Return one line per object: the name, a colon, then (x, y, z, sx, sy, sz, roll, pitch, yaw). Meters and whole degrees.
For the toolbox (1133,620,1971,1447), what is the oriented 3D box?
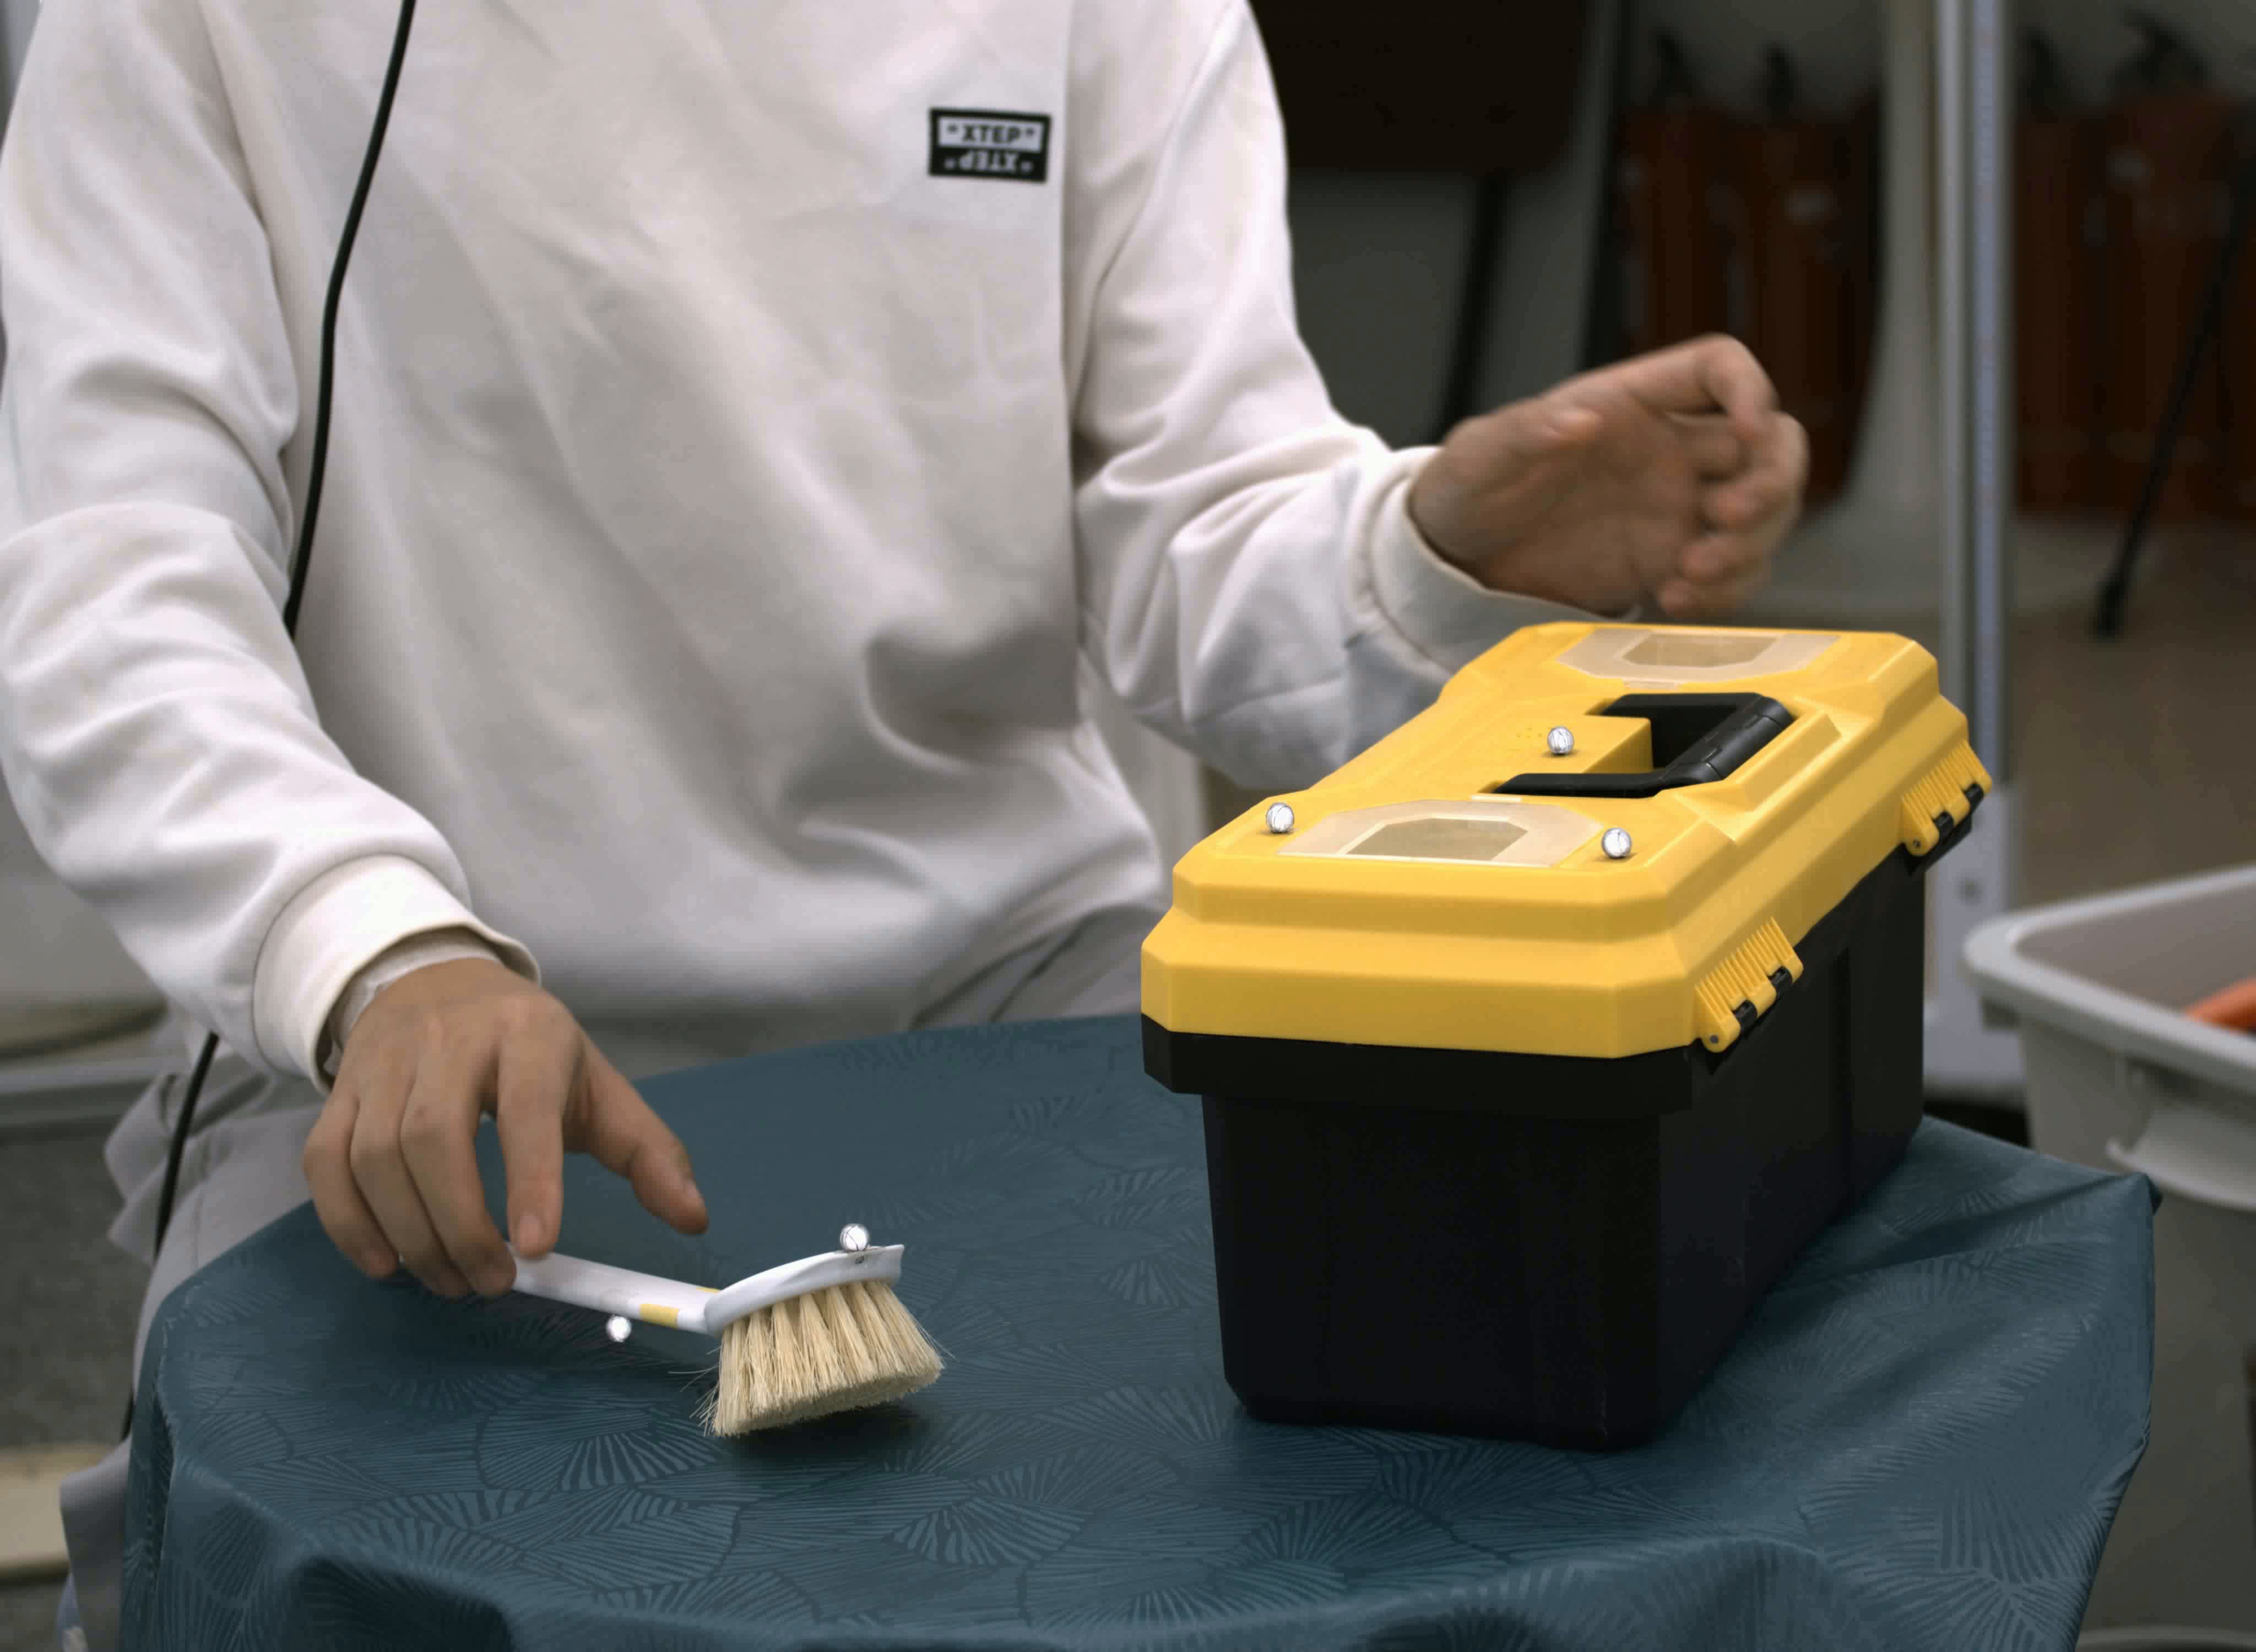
toolbox: (0.139, 0.054, 1.645, 0.181, 0.175, 0.347, 3, 14, 23)

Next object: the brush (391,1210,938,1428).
brush: (-0.149, 0.157, 1.645, 0.067, 0.057, 0.269, 14, -16, -36)
